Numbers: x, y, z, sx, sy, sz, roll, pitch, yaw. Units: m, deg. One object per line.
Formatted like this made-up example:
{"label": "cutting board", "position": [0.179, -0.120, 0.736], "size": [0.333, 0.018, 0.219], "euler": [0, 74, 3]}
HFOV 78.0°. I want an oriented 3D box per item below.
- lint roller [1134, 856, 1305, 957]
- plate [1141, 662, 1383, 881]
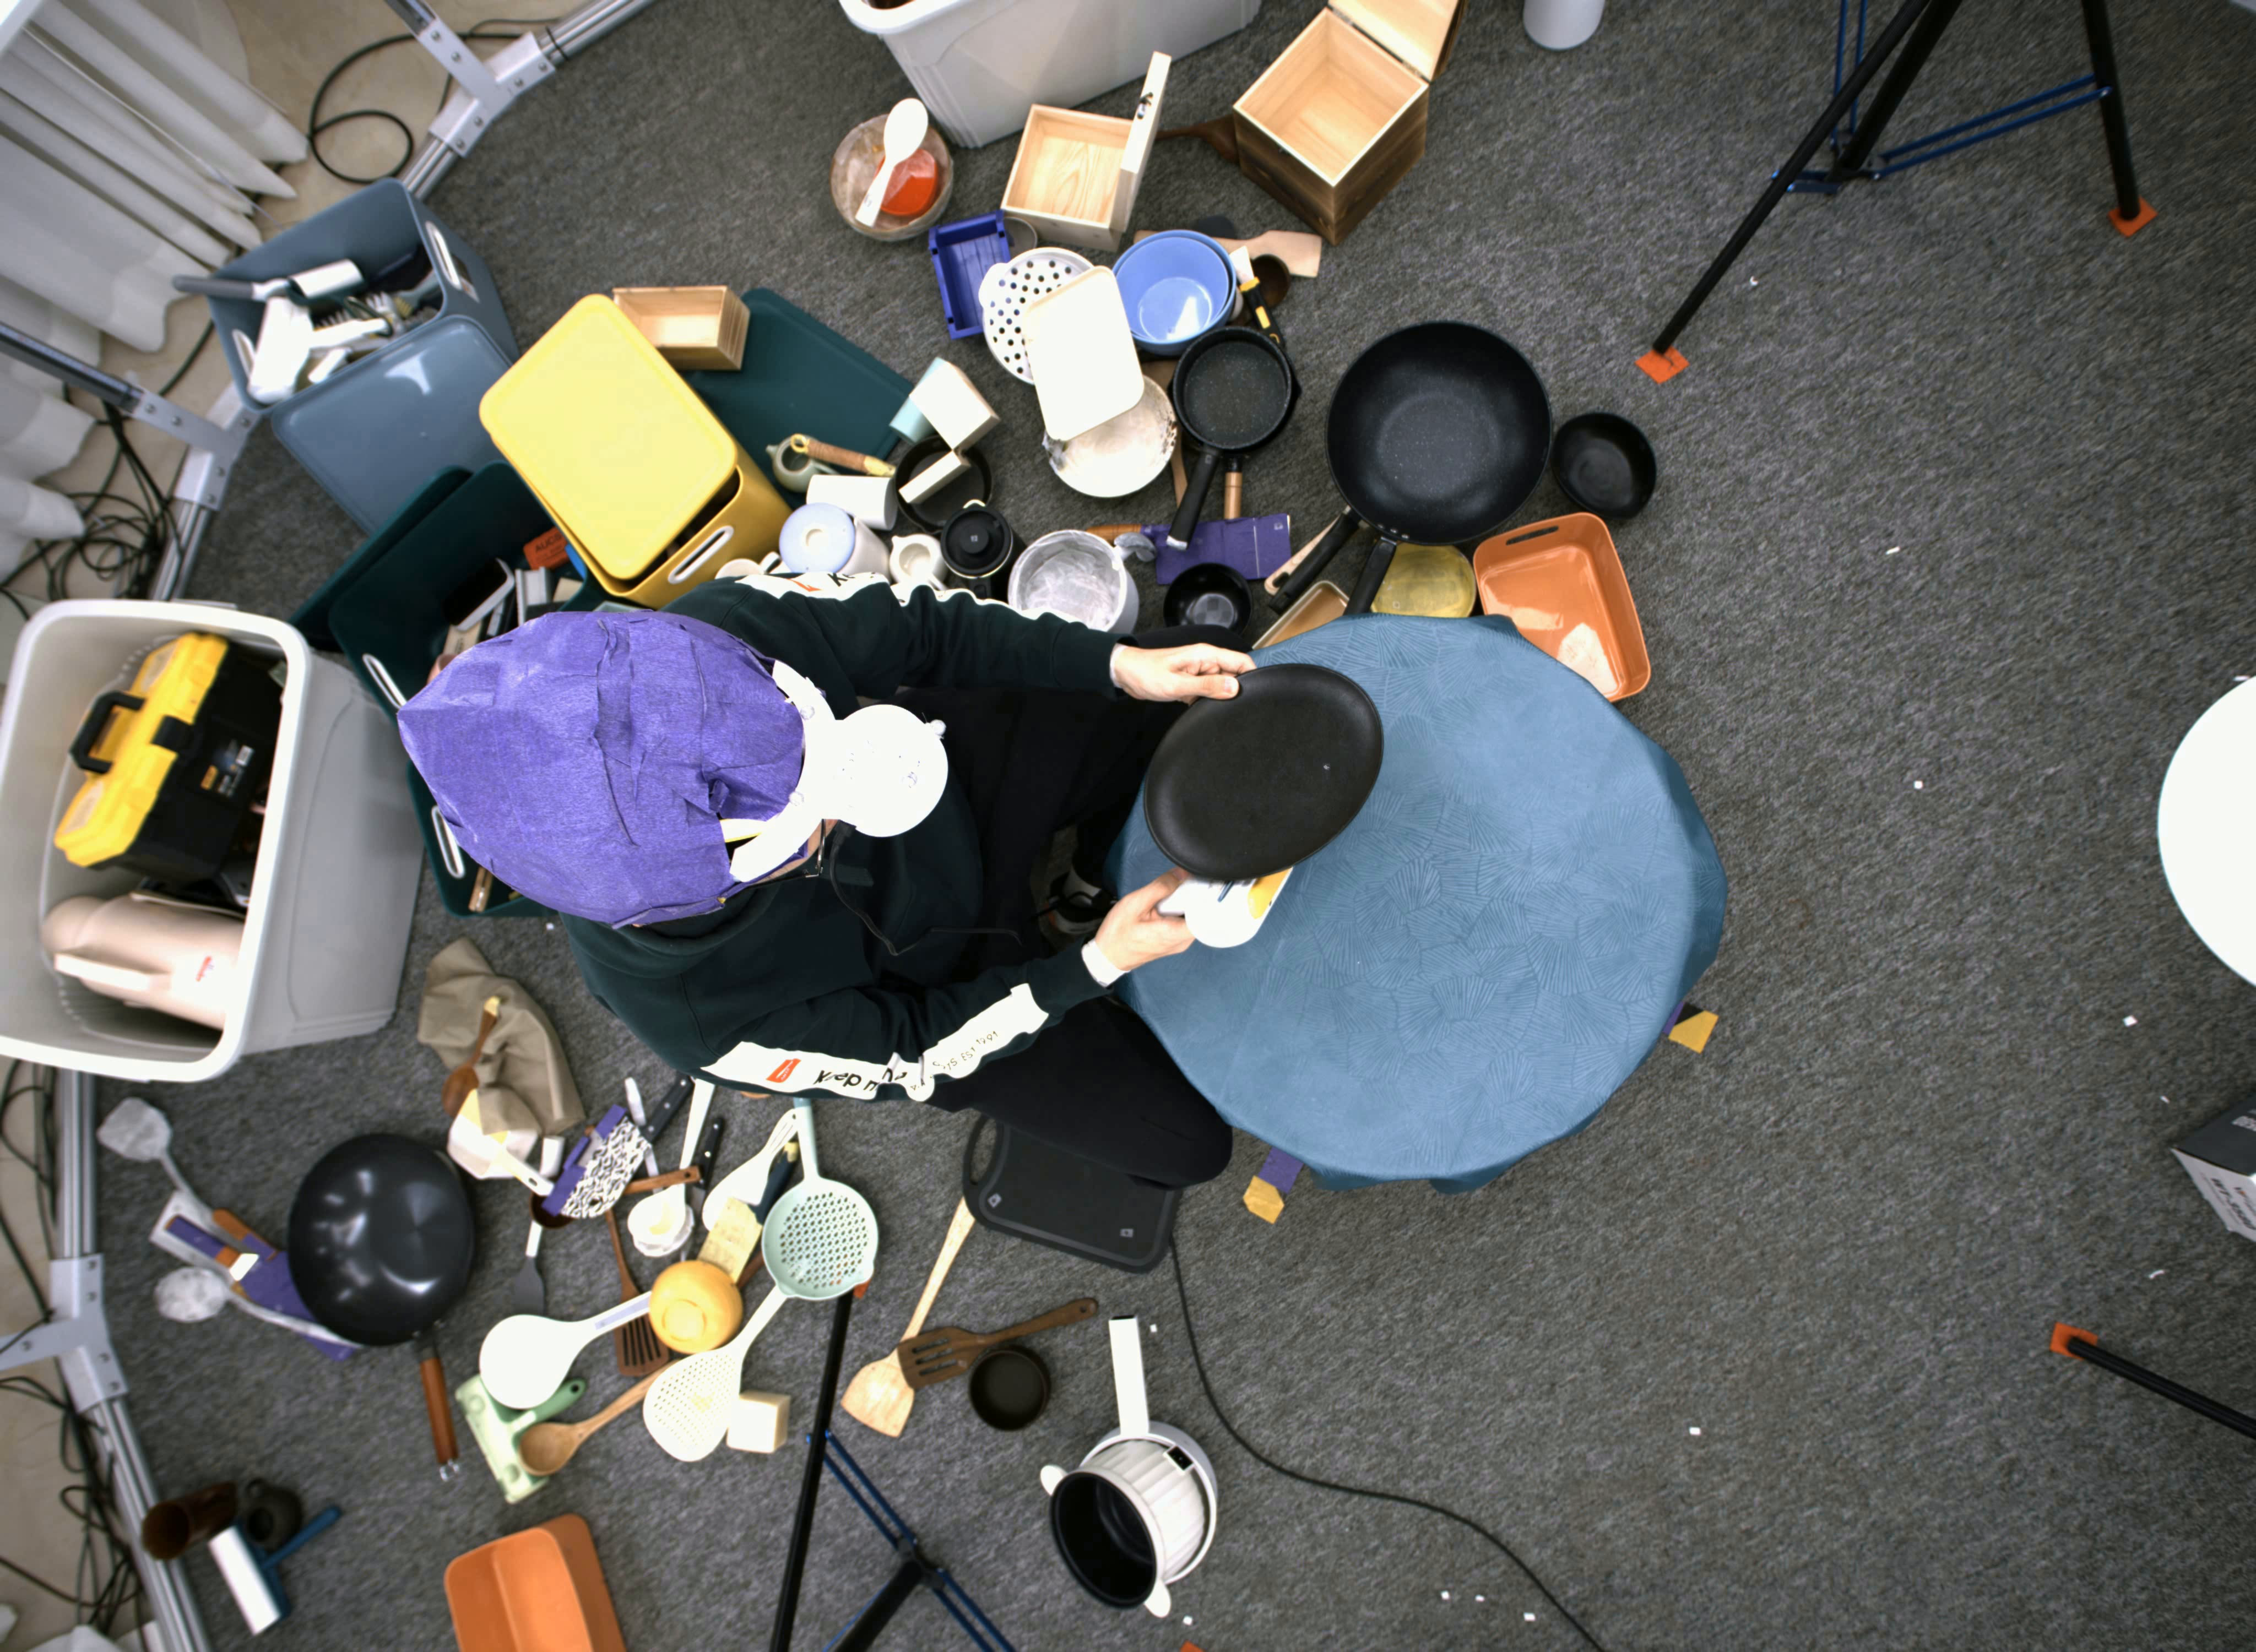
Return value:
{"label": "lint roller", "position": [0.072, 0.063, 1.343], "size": [0.195, 0.188, 0.075], "euler": [-12, 122, 42]}
{"label": "plate", "position": [0.125, -0.051, 1.299], "size": [0.247, 0.024, 0.238], "euler": [-16, 54, 23]}
